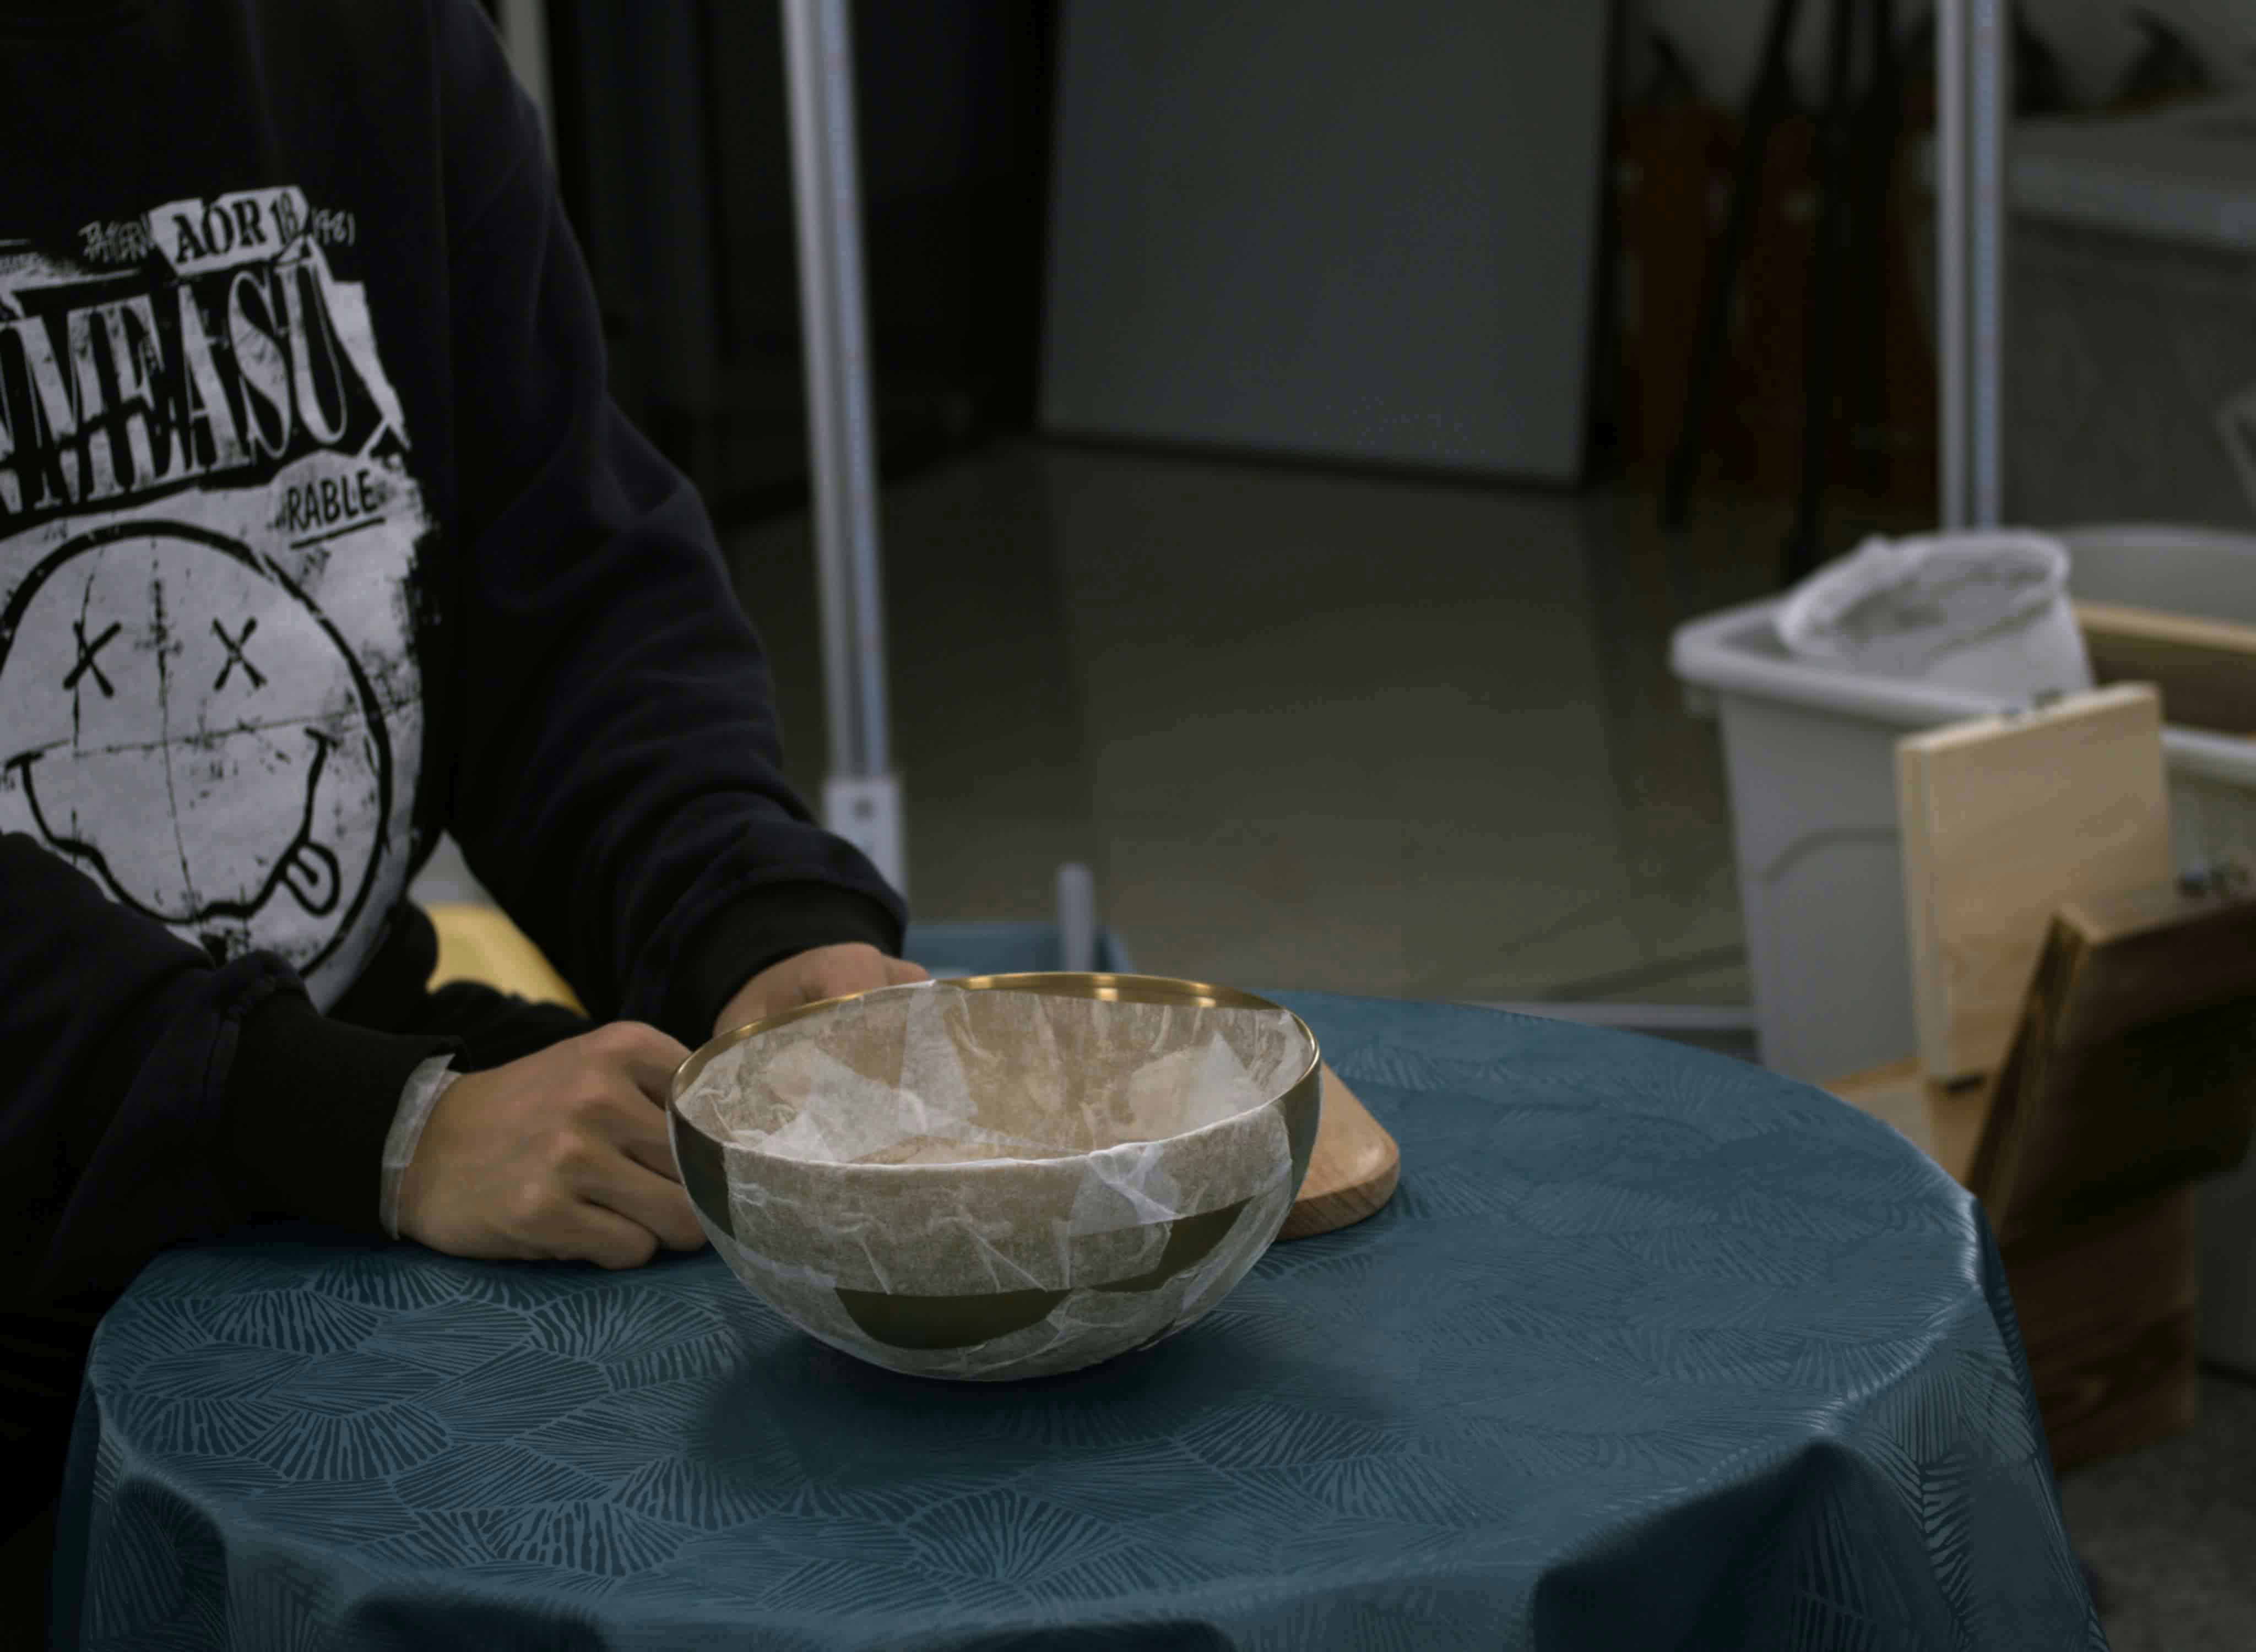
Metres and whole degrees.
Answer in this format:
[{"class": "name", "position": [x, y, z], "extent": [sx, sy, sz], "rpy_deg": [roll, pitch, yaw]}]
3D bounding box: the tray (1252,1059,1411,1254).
[{"class": "tray", "position": [0.027, 0.102, 1.812], "extent": [0.100, 0.020, 0.233], "rpy_deg": [-9, 16, -11]}]

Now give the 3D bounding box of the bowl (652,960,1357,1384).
[{"class": "bowl", "position": [-0.035, 0.112, 1.625], "extent": [0.212, 0.095, 0.215], "rpy_deg": [-5, 14, 0]}]
